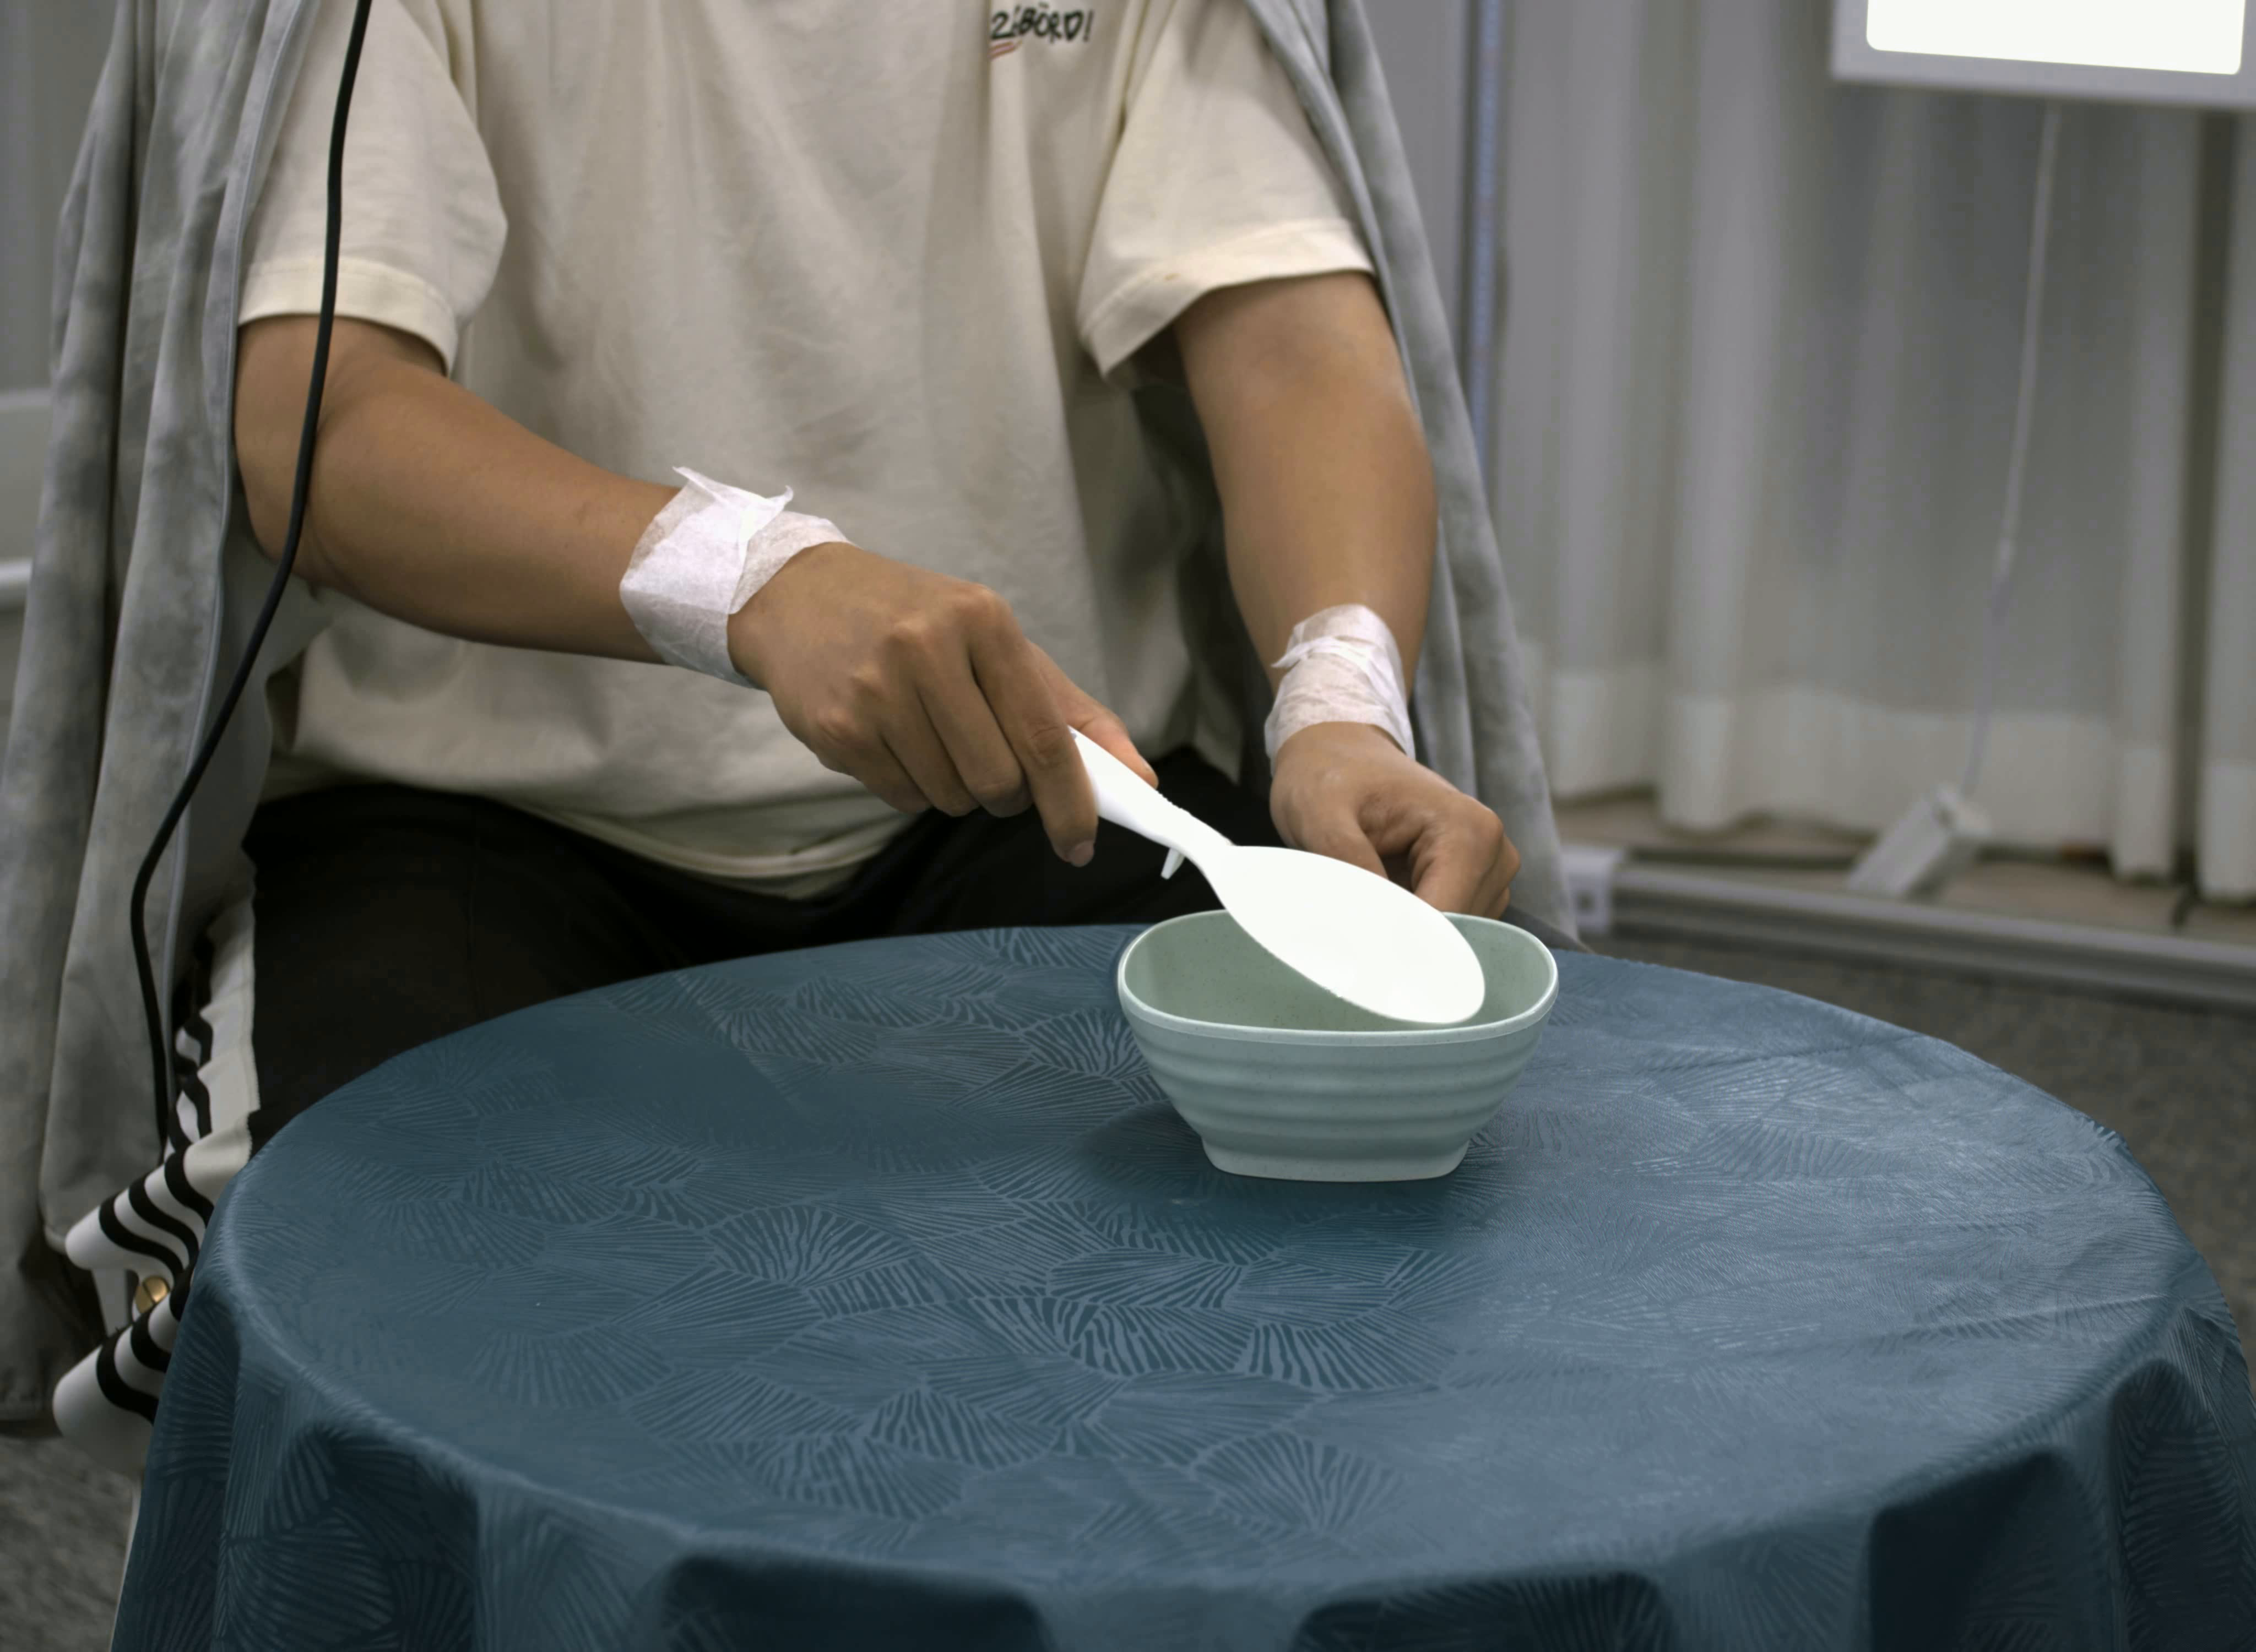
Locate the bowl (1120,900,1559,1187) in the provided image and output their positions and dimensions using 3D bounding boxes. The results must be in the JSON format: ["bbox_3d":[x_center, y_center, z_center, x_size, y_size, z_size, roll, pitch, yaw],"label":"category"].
[{"bbox_3d":[0.067,0.072,1.668,0.151,0.059,0.150,0,18,1],"label":"bowl"}]

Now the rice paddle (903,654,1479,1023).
[{"bbox_3d":[0.023,0.006,1.685,0.204,0.029,0.068,29,36,8],"label":"rice paddle"}]
